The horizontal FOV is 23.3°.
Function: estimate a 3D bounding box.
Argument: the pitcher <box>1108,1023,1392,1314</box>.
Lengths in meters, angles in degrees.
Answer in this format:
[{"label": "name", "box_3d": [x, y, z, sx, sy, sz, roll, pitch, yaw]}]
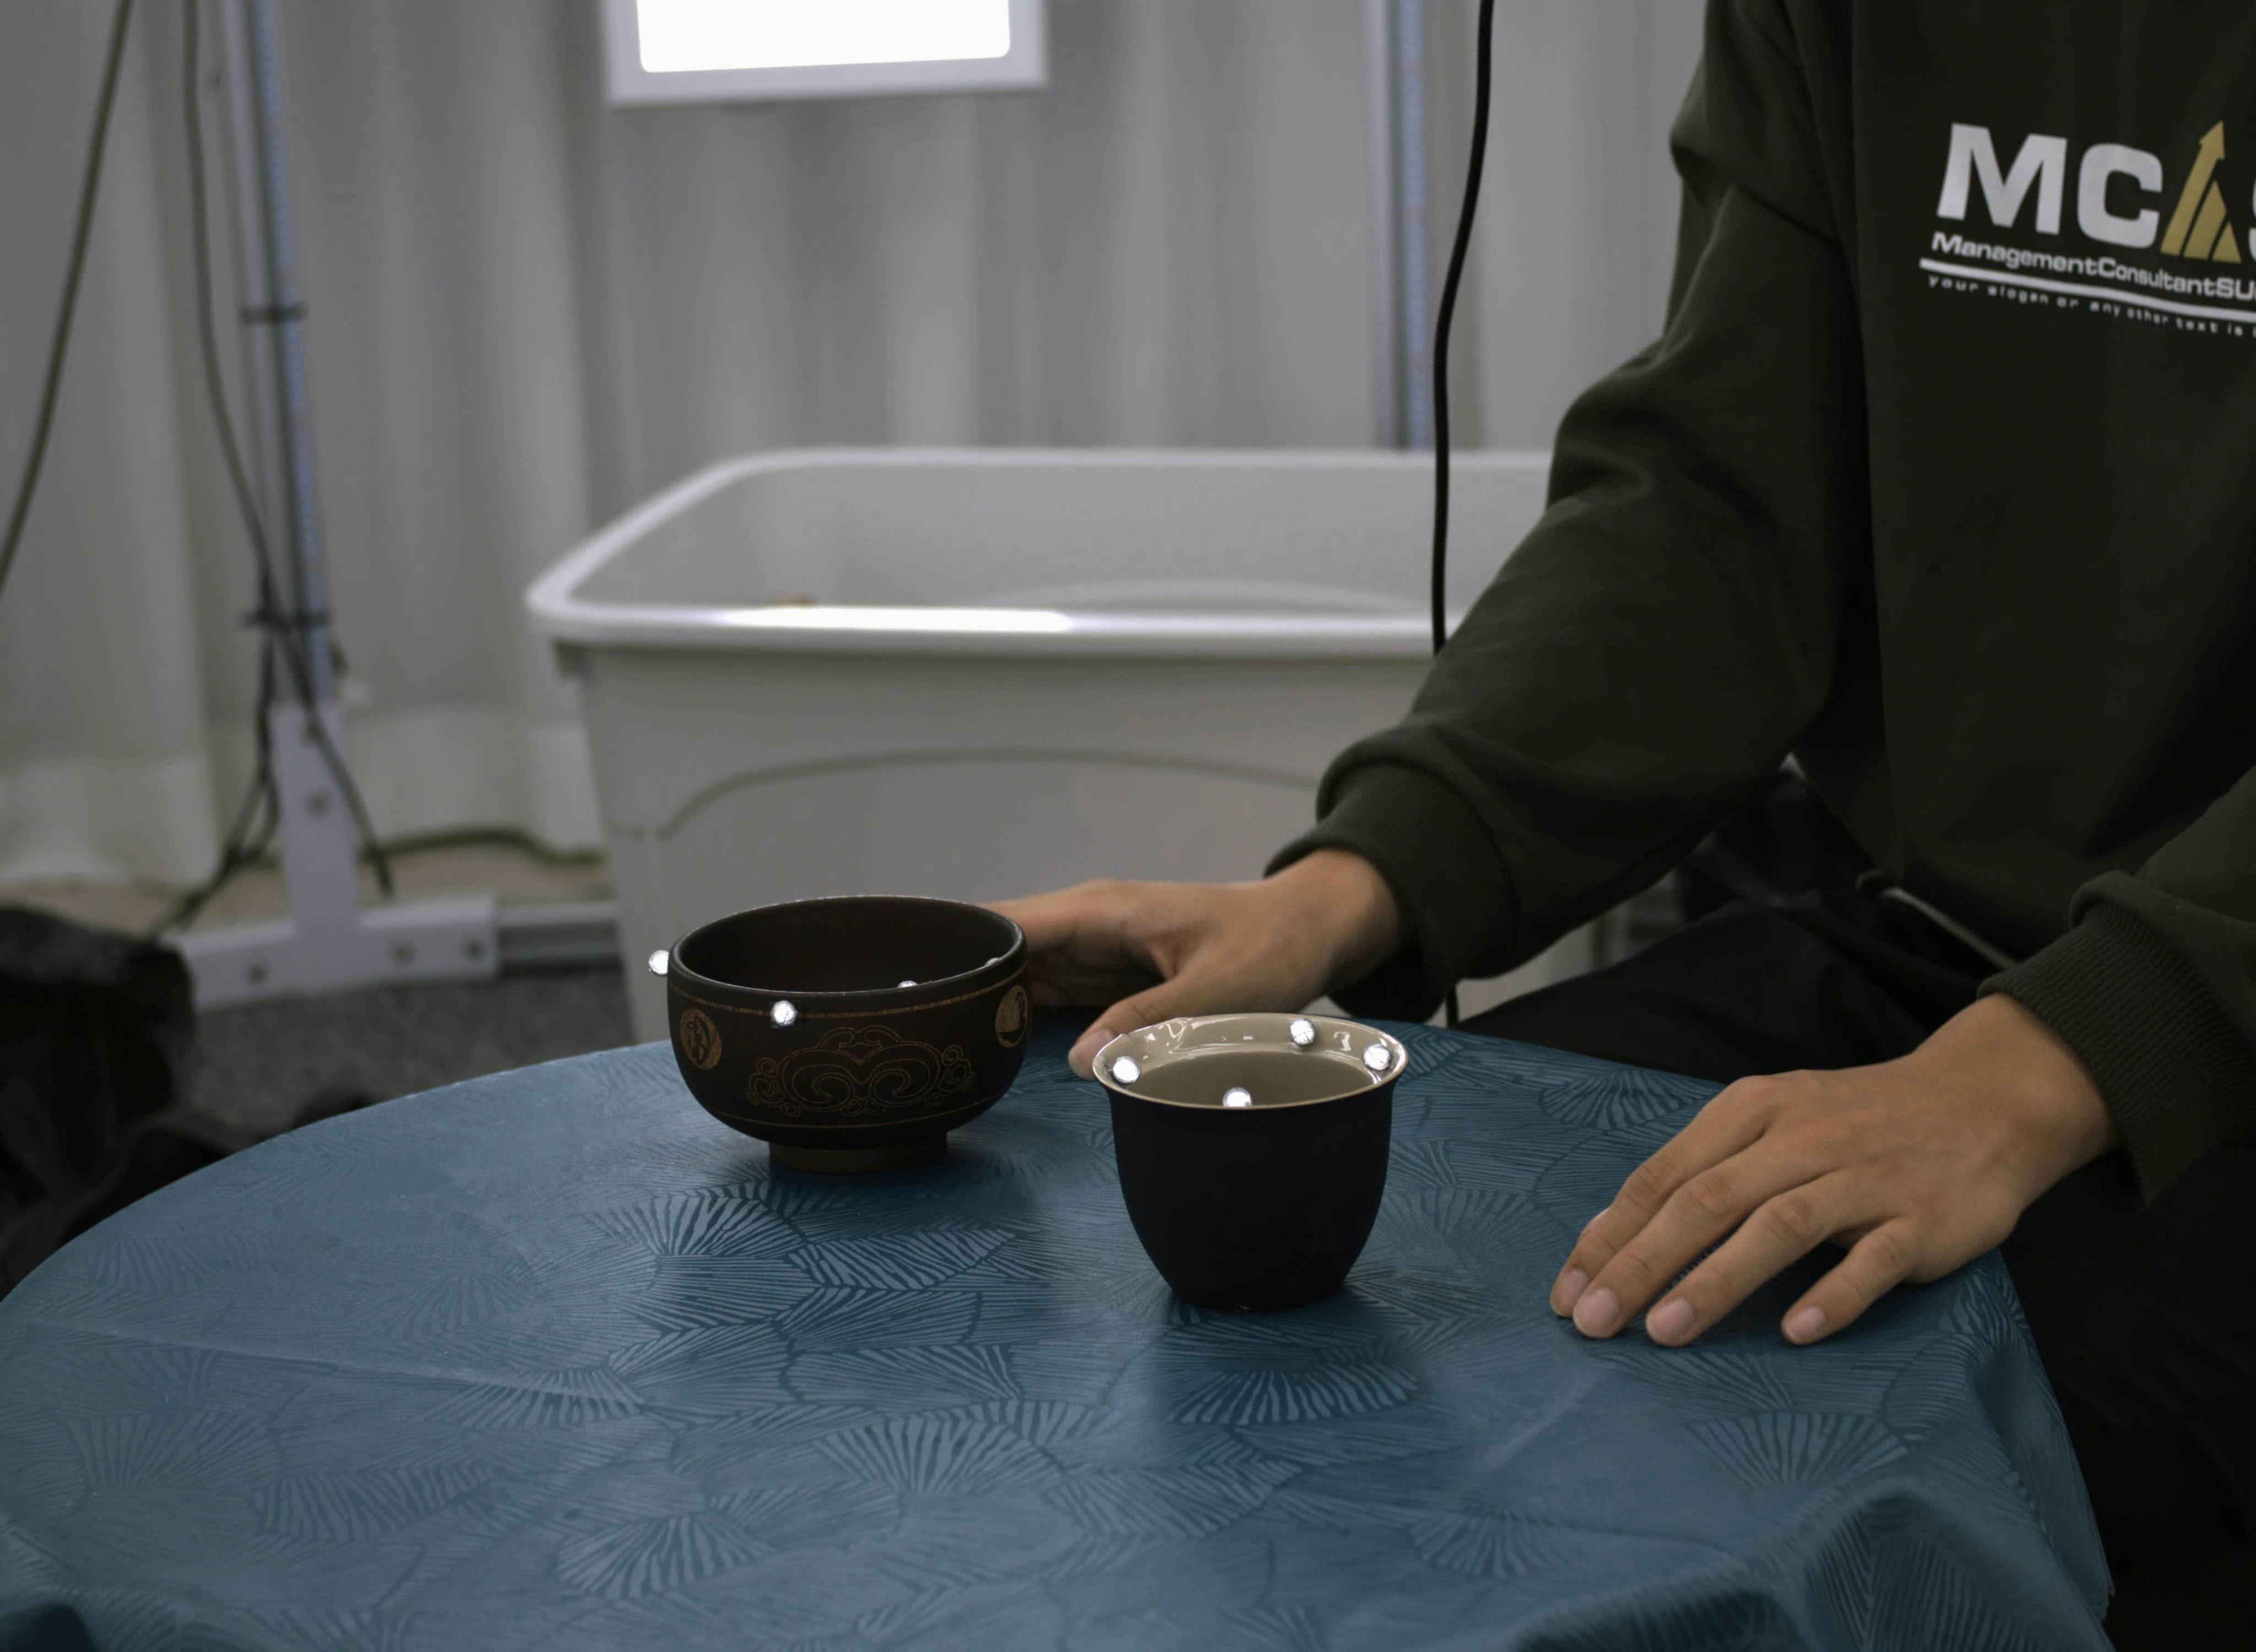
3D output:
[{"label": "pitcher", "box_3d": [0.035, 0.102, 1.620, 0.083, 0.071, 0.096, -14, 16, -29]}]

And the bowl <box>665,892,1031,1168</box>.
[{"label": "bowl", "box_3d": [-0.089, 0.069, 1.764, 0.117, 0.069, 0.119, -1, 14, 0]}]
